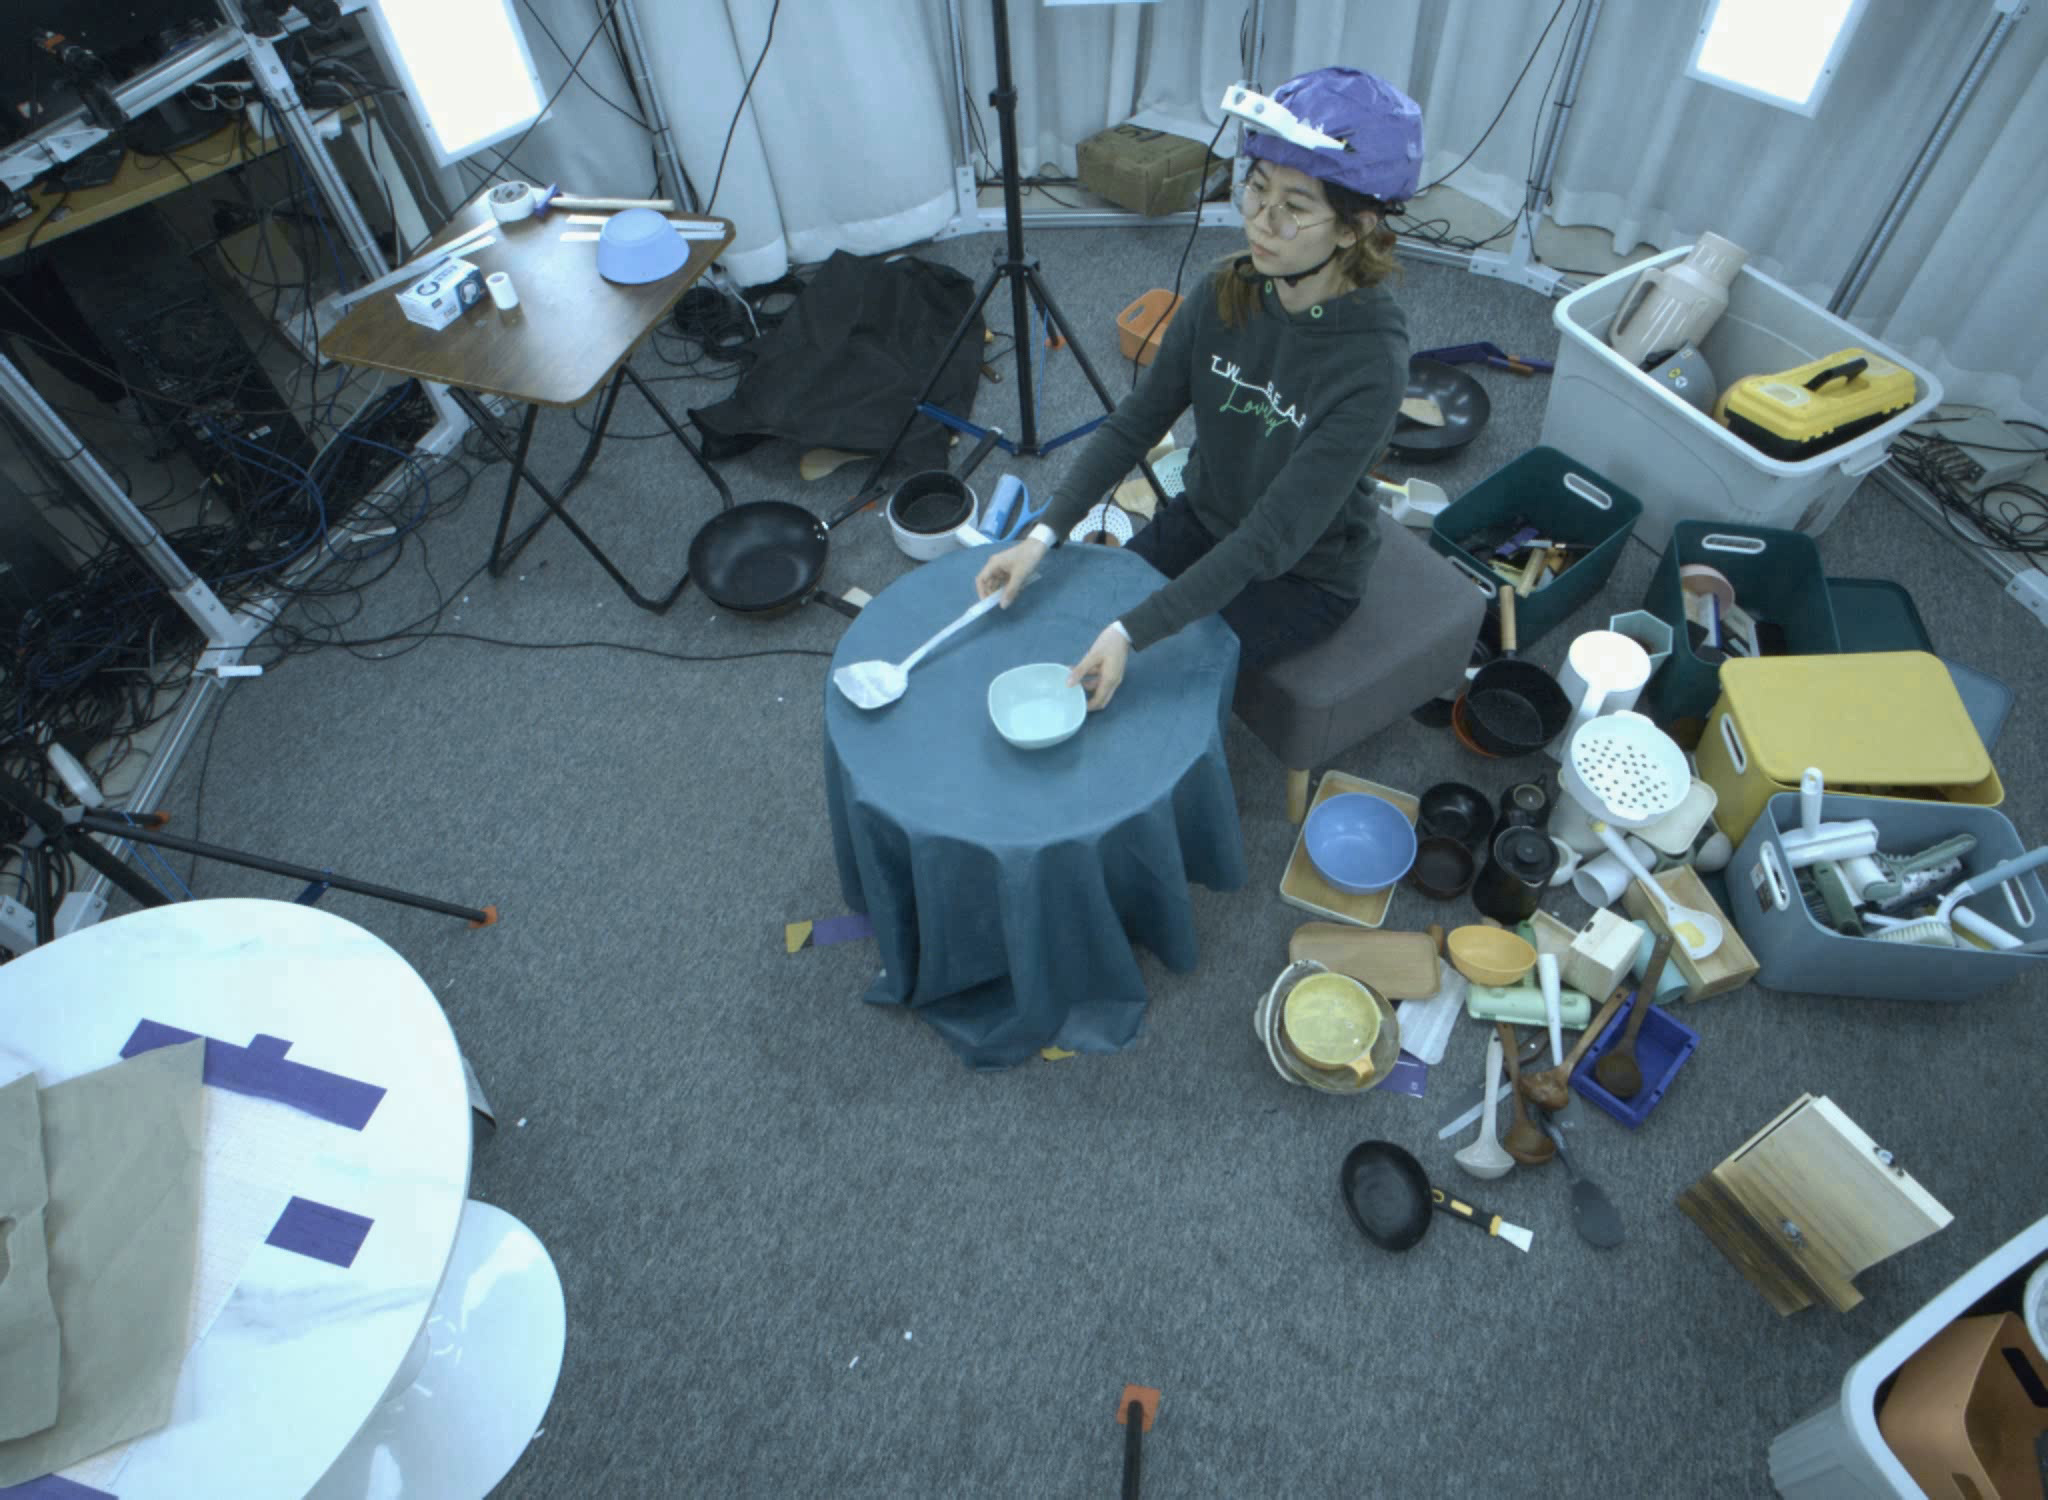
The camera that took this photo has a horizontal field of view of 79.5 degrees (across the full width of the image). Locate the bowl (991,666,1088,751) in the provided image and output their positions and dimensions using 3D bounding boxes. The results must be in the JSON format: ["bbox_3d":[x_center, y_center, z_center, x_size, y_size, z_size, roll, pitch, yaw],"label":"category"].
[{"bbox_3d":[0.025,-0.050,1.799,0.151,0.059,0.150,-1,57,3],"label":"bowl"}]

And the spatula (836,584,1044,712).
[{"bbox_3d":[-0.122,-0.172,1.885,0.367,0.045,0.097,-36,60,-14],"label":"spatula"}]
